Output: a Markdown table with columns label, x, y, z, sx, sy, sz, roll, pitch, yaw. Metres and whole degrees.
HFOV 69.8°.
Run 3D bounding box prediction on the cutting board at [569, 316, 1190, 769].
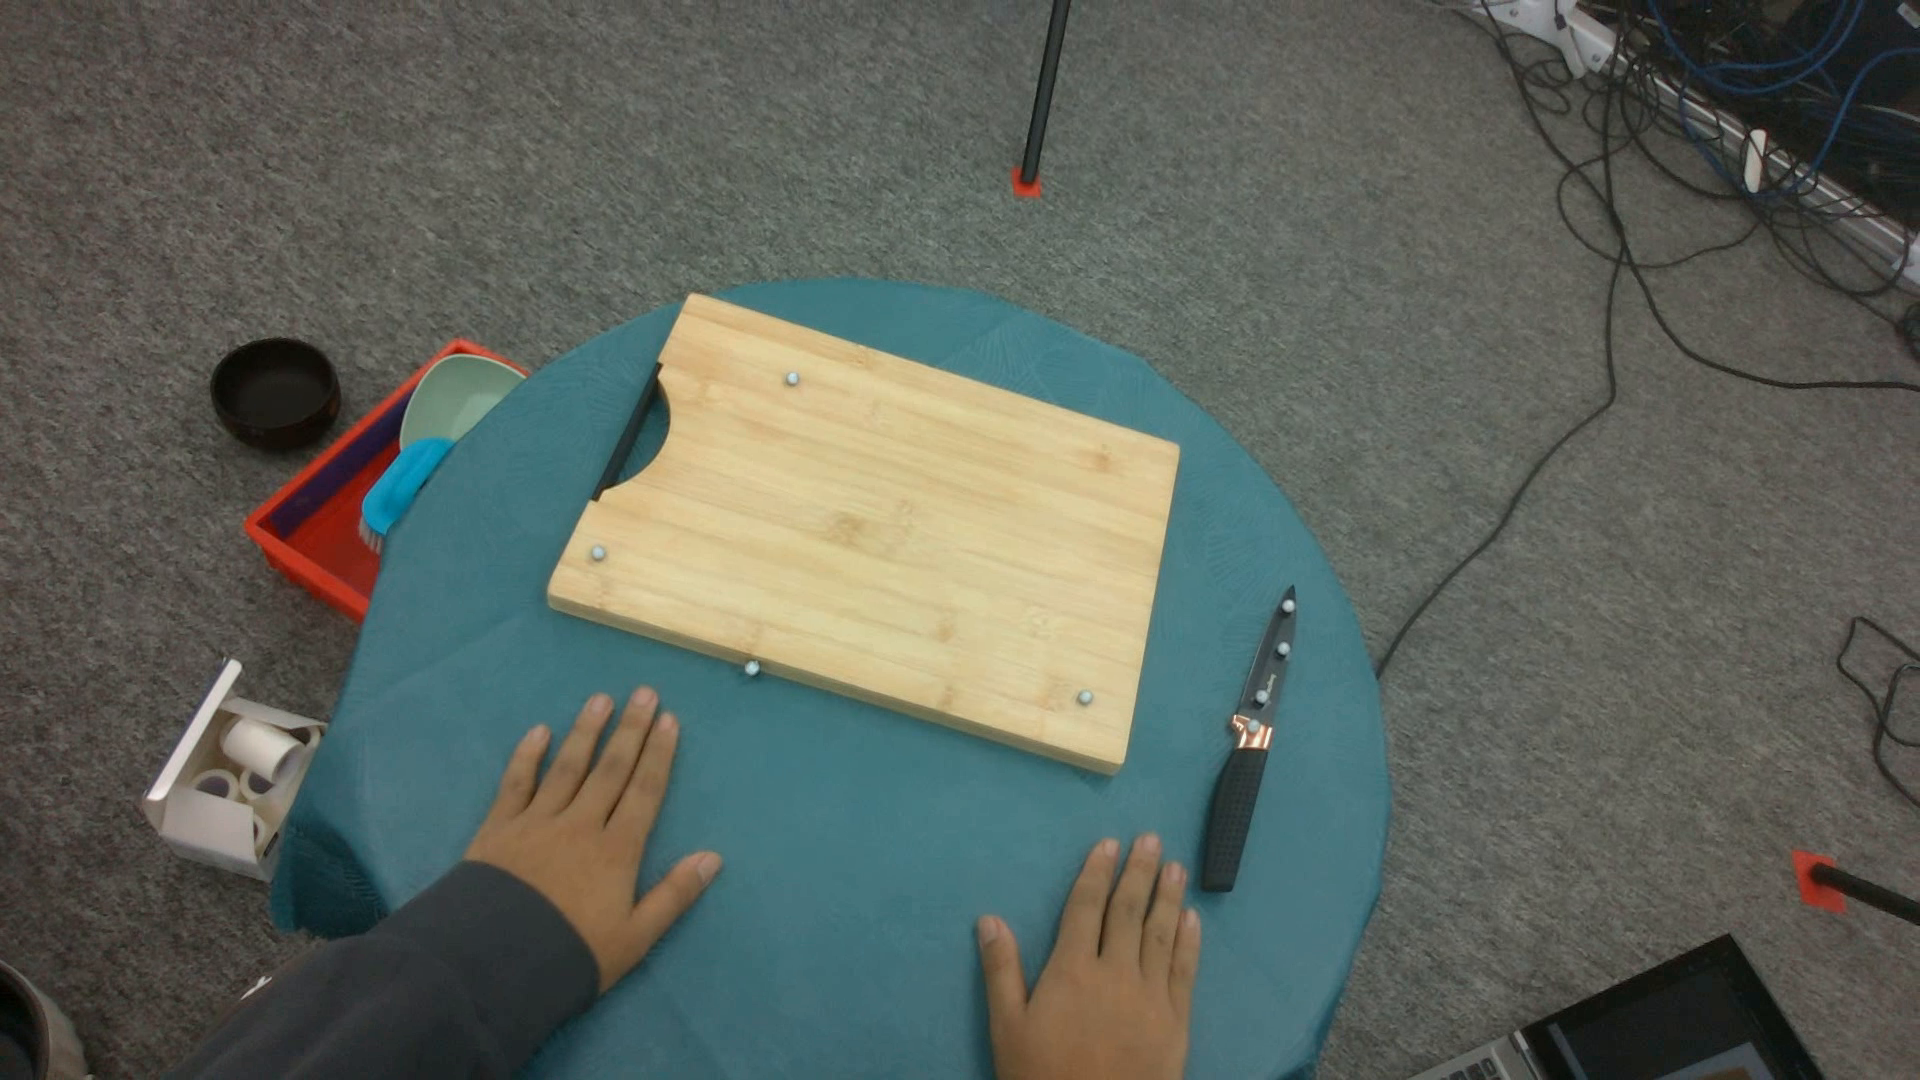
| label | x | y | z | sx | sy | sz | roll | pitch | yaw |
| --- | --- | --- | --- | --- | --- | --- | --- | --- | --- |
| cutting board | -0.036 | -0.007 | 0.862 | 0.348 | 0.023 | 0.252 | 13 | 56 | -1 |

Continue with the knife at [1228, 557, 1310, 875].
| label | x | y | z | sx | sy | sz | roll | pitch | yaw |
| --- | --- | --- | --- | --- | --- | --- | --- | --- | --- |
| knife | 0.193 | 0.099 | 0.834 | 0.026 | 0.017 | 0.226 | 17 | 55 | 8 |
